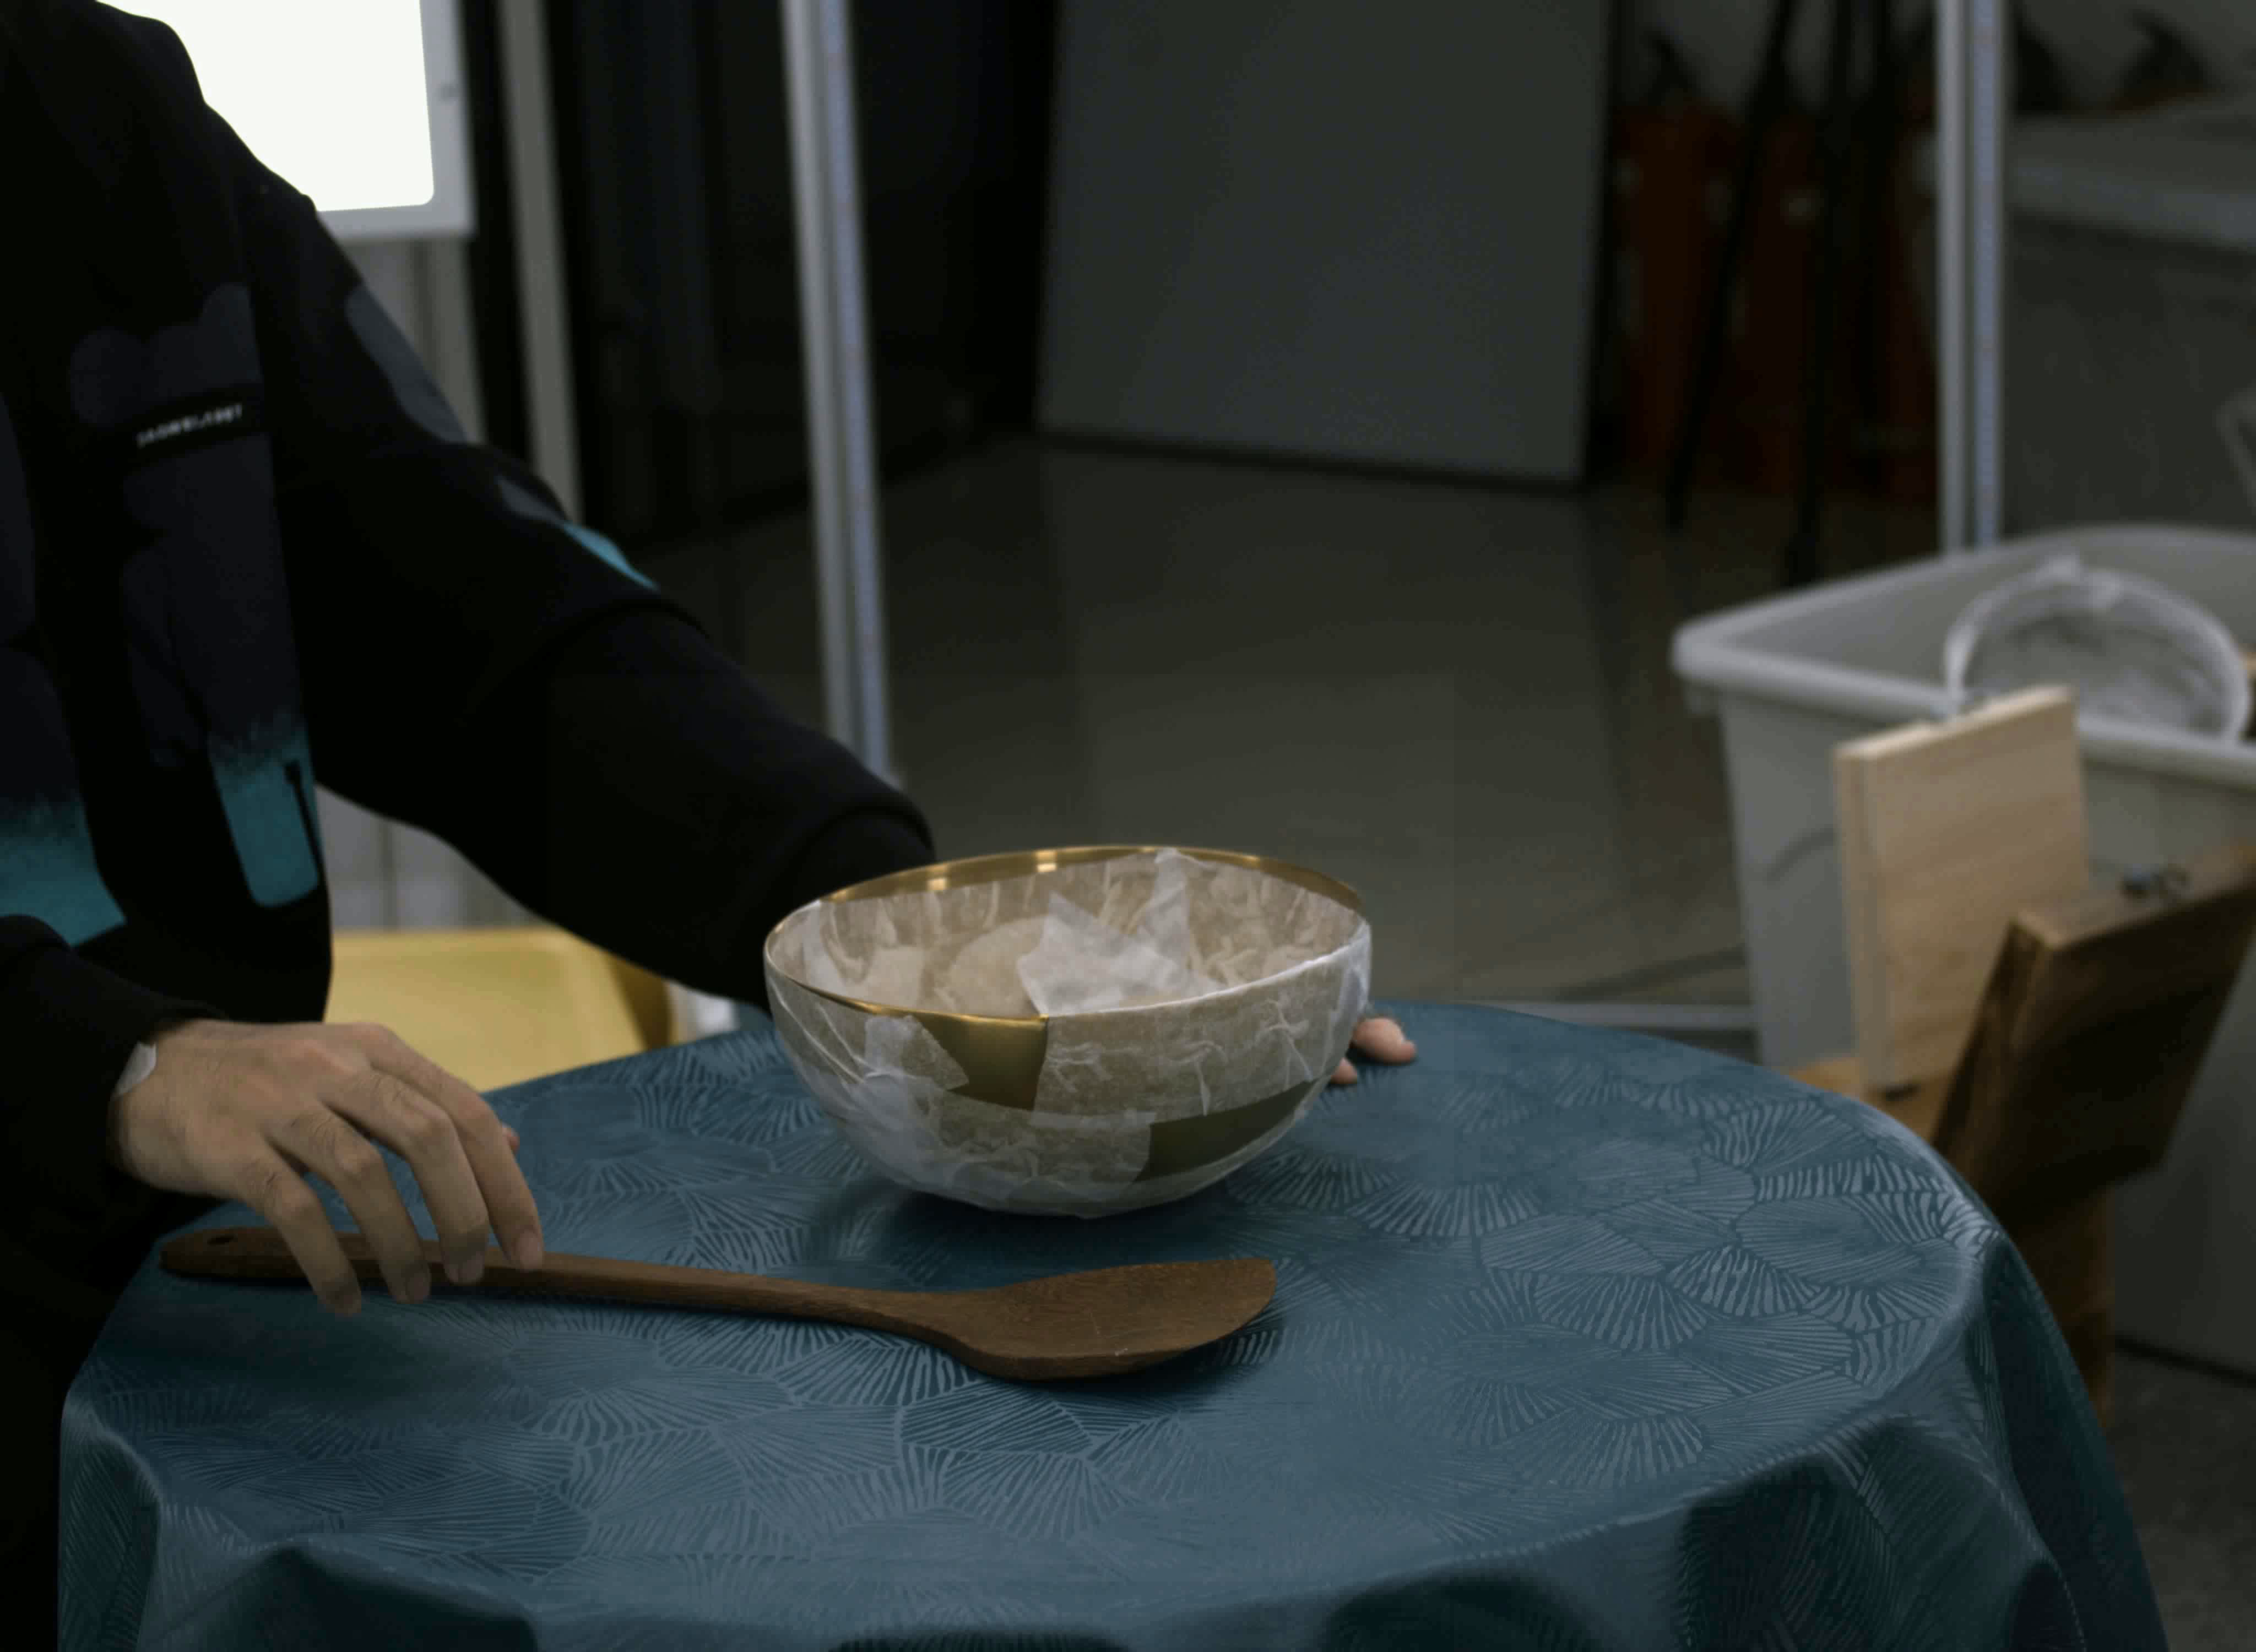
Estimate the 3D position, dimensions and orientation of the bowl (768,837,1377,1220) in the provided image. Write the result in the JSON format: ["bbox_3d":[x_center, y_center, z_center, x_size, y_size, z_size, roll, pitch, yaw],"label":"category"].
[{"bbox_3d":[-0.017,0.073,1.771,0.212,0.095,0.215,-5,15,0],"label":"bowl"}]

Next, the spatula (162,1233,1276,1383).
[{"bbox_3d":[-0.137,0.145,1.686,0.386,0.016,0.095,2,15,24],"label":"spatula"}]
